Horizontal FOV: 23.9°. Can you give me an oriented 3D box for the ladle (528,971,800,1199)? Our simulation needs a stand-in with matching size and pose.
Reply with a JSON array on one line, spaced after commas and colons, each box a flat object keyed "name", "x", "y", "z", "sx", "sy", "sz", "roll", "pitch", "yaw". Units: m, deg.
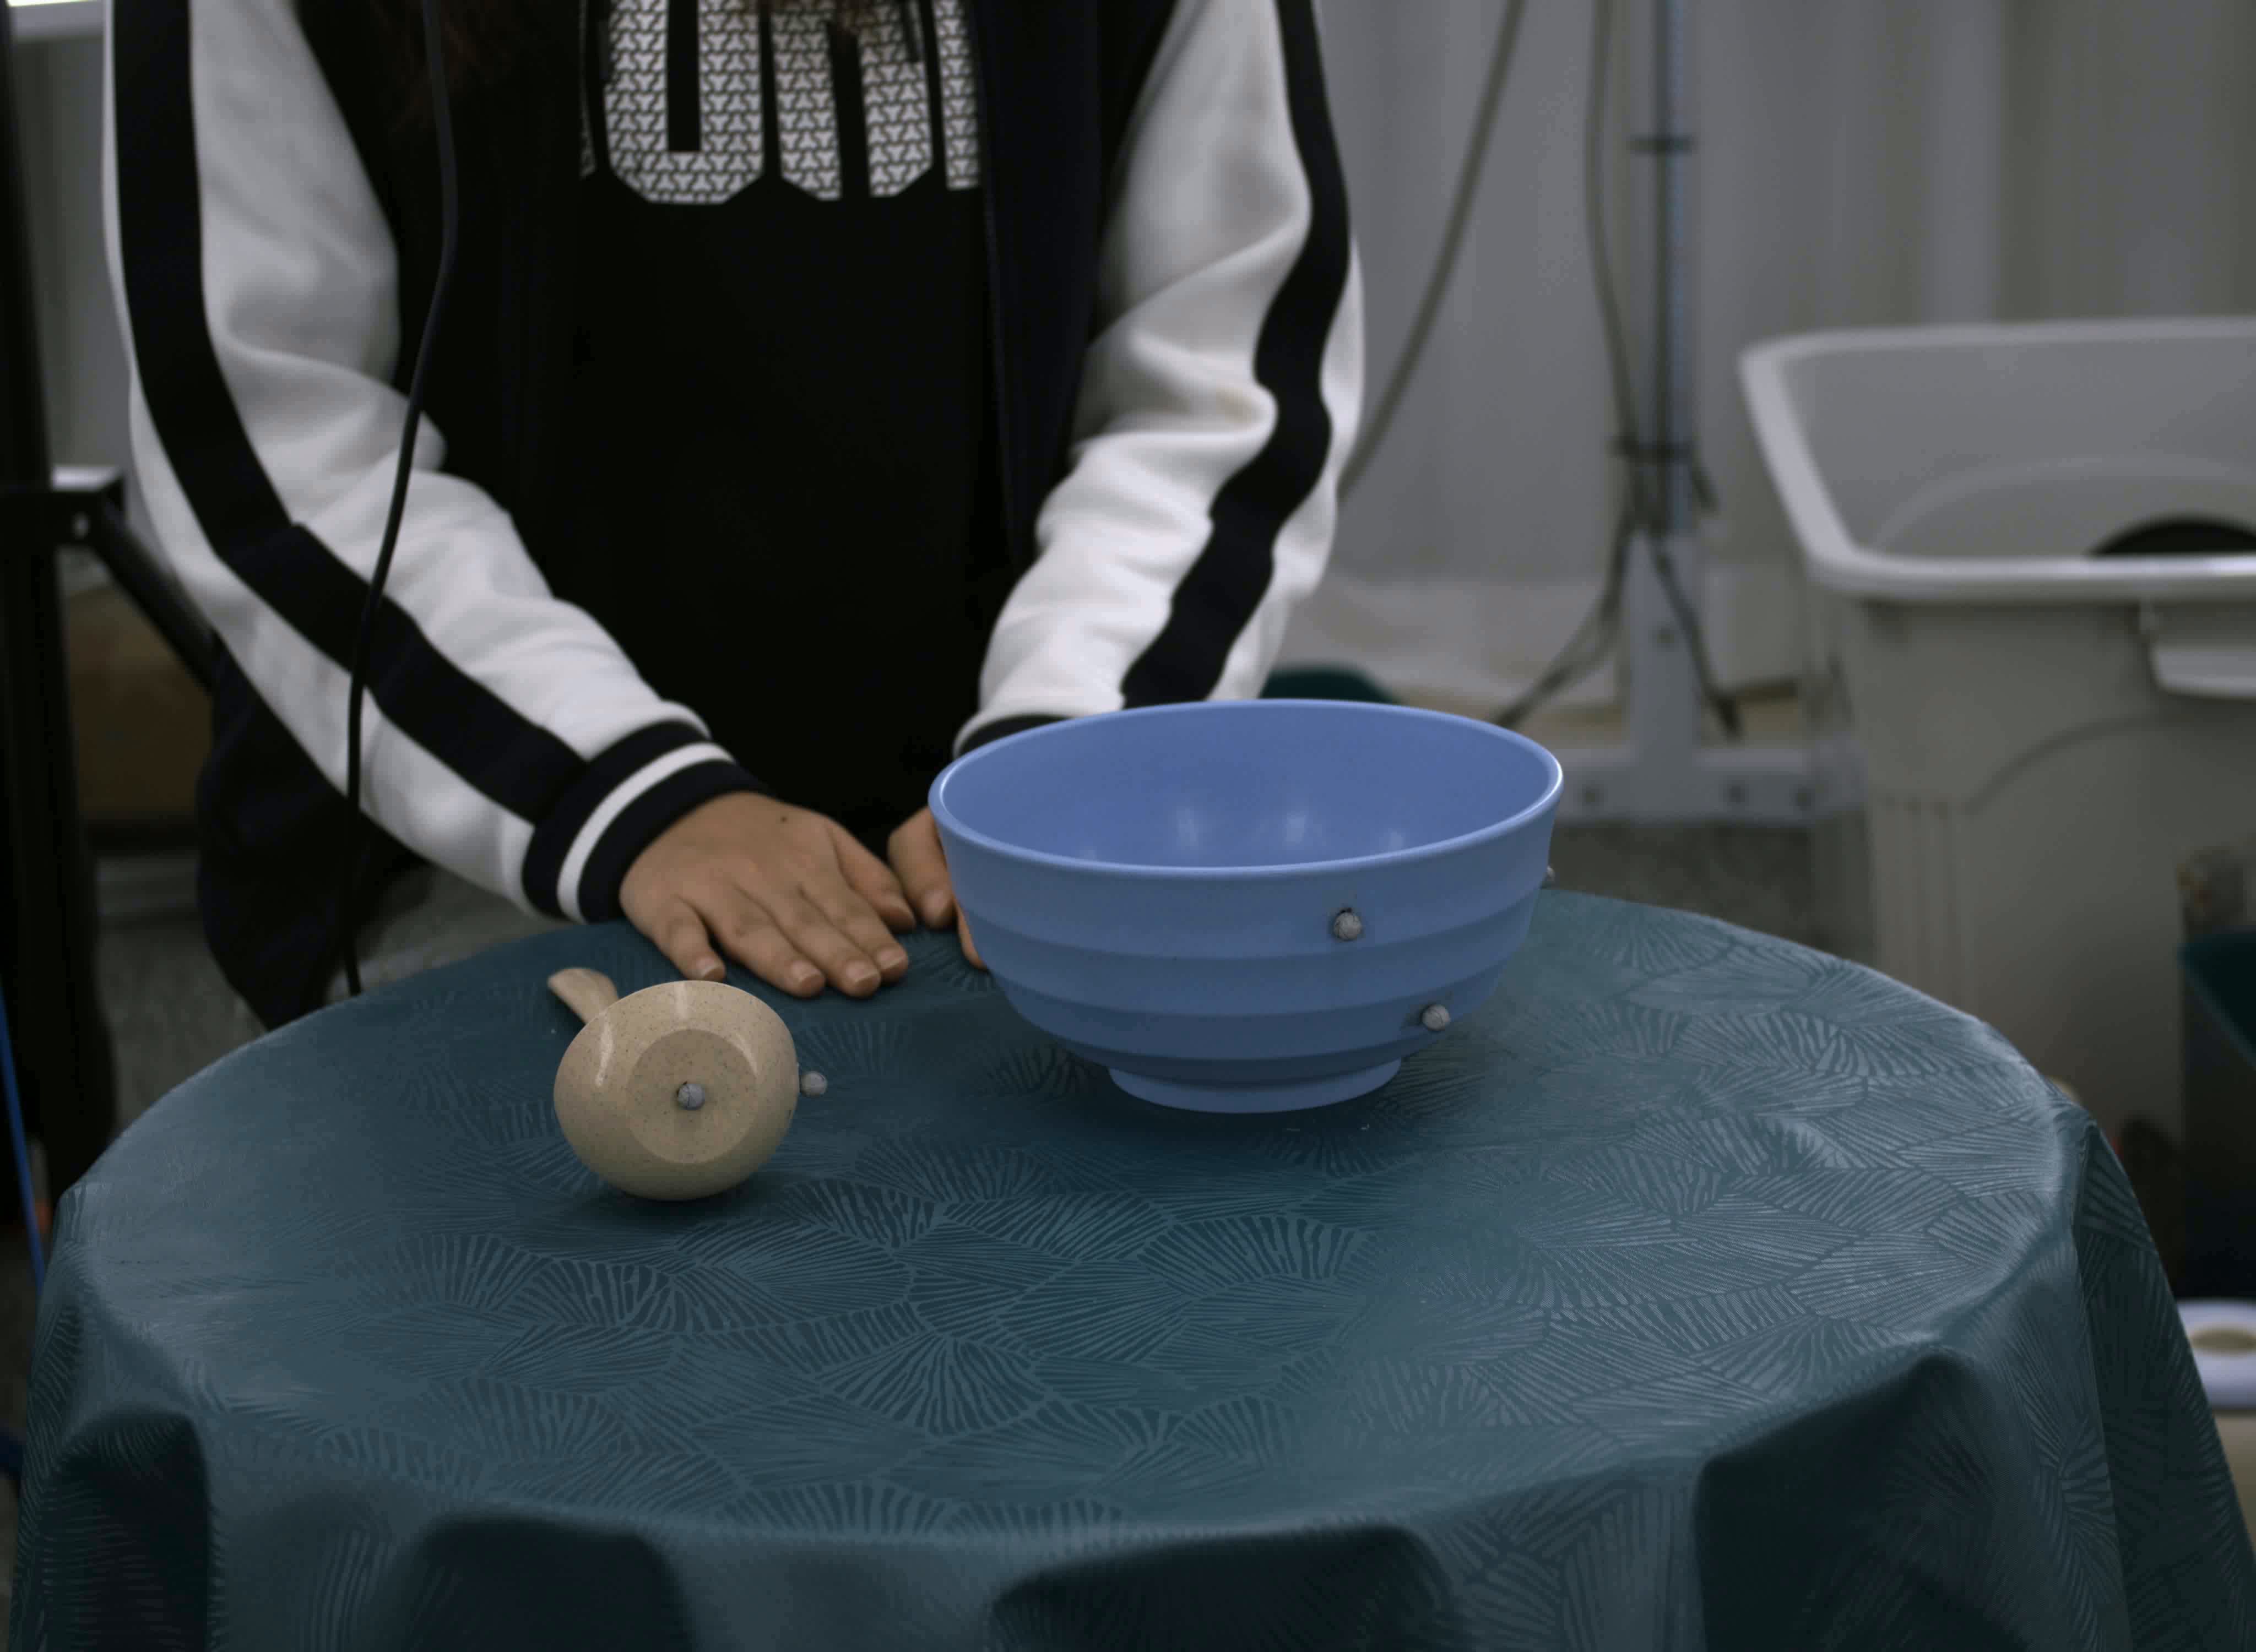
[{"name": "ladle", "x": -0.159, "y": 0.050, "z": 1.655, "sx": 0.071, "sy": 0.073, "sz": 0.258, "roll": -6, "pitch": 16, "yaw": -15}]

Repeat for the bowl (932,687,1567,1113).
[{"name": "bowl", "x": 0.037, "y": 0.029, "z": 1.652, "sx": 0.195, "sy": 0.095, "sz": 0.197, "roll": -1, "pitch": 18, "yaw": -1}]
